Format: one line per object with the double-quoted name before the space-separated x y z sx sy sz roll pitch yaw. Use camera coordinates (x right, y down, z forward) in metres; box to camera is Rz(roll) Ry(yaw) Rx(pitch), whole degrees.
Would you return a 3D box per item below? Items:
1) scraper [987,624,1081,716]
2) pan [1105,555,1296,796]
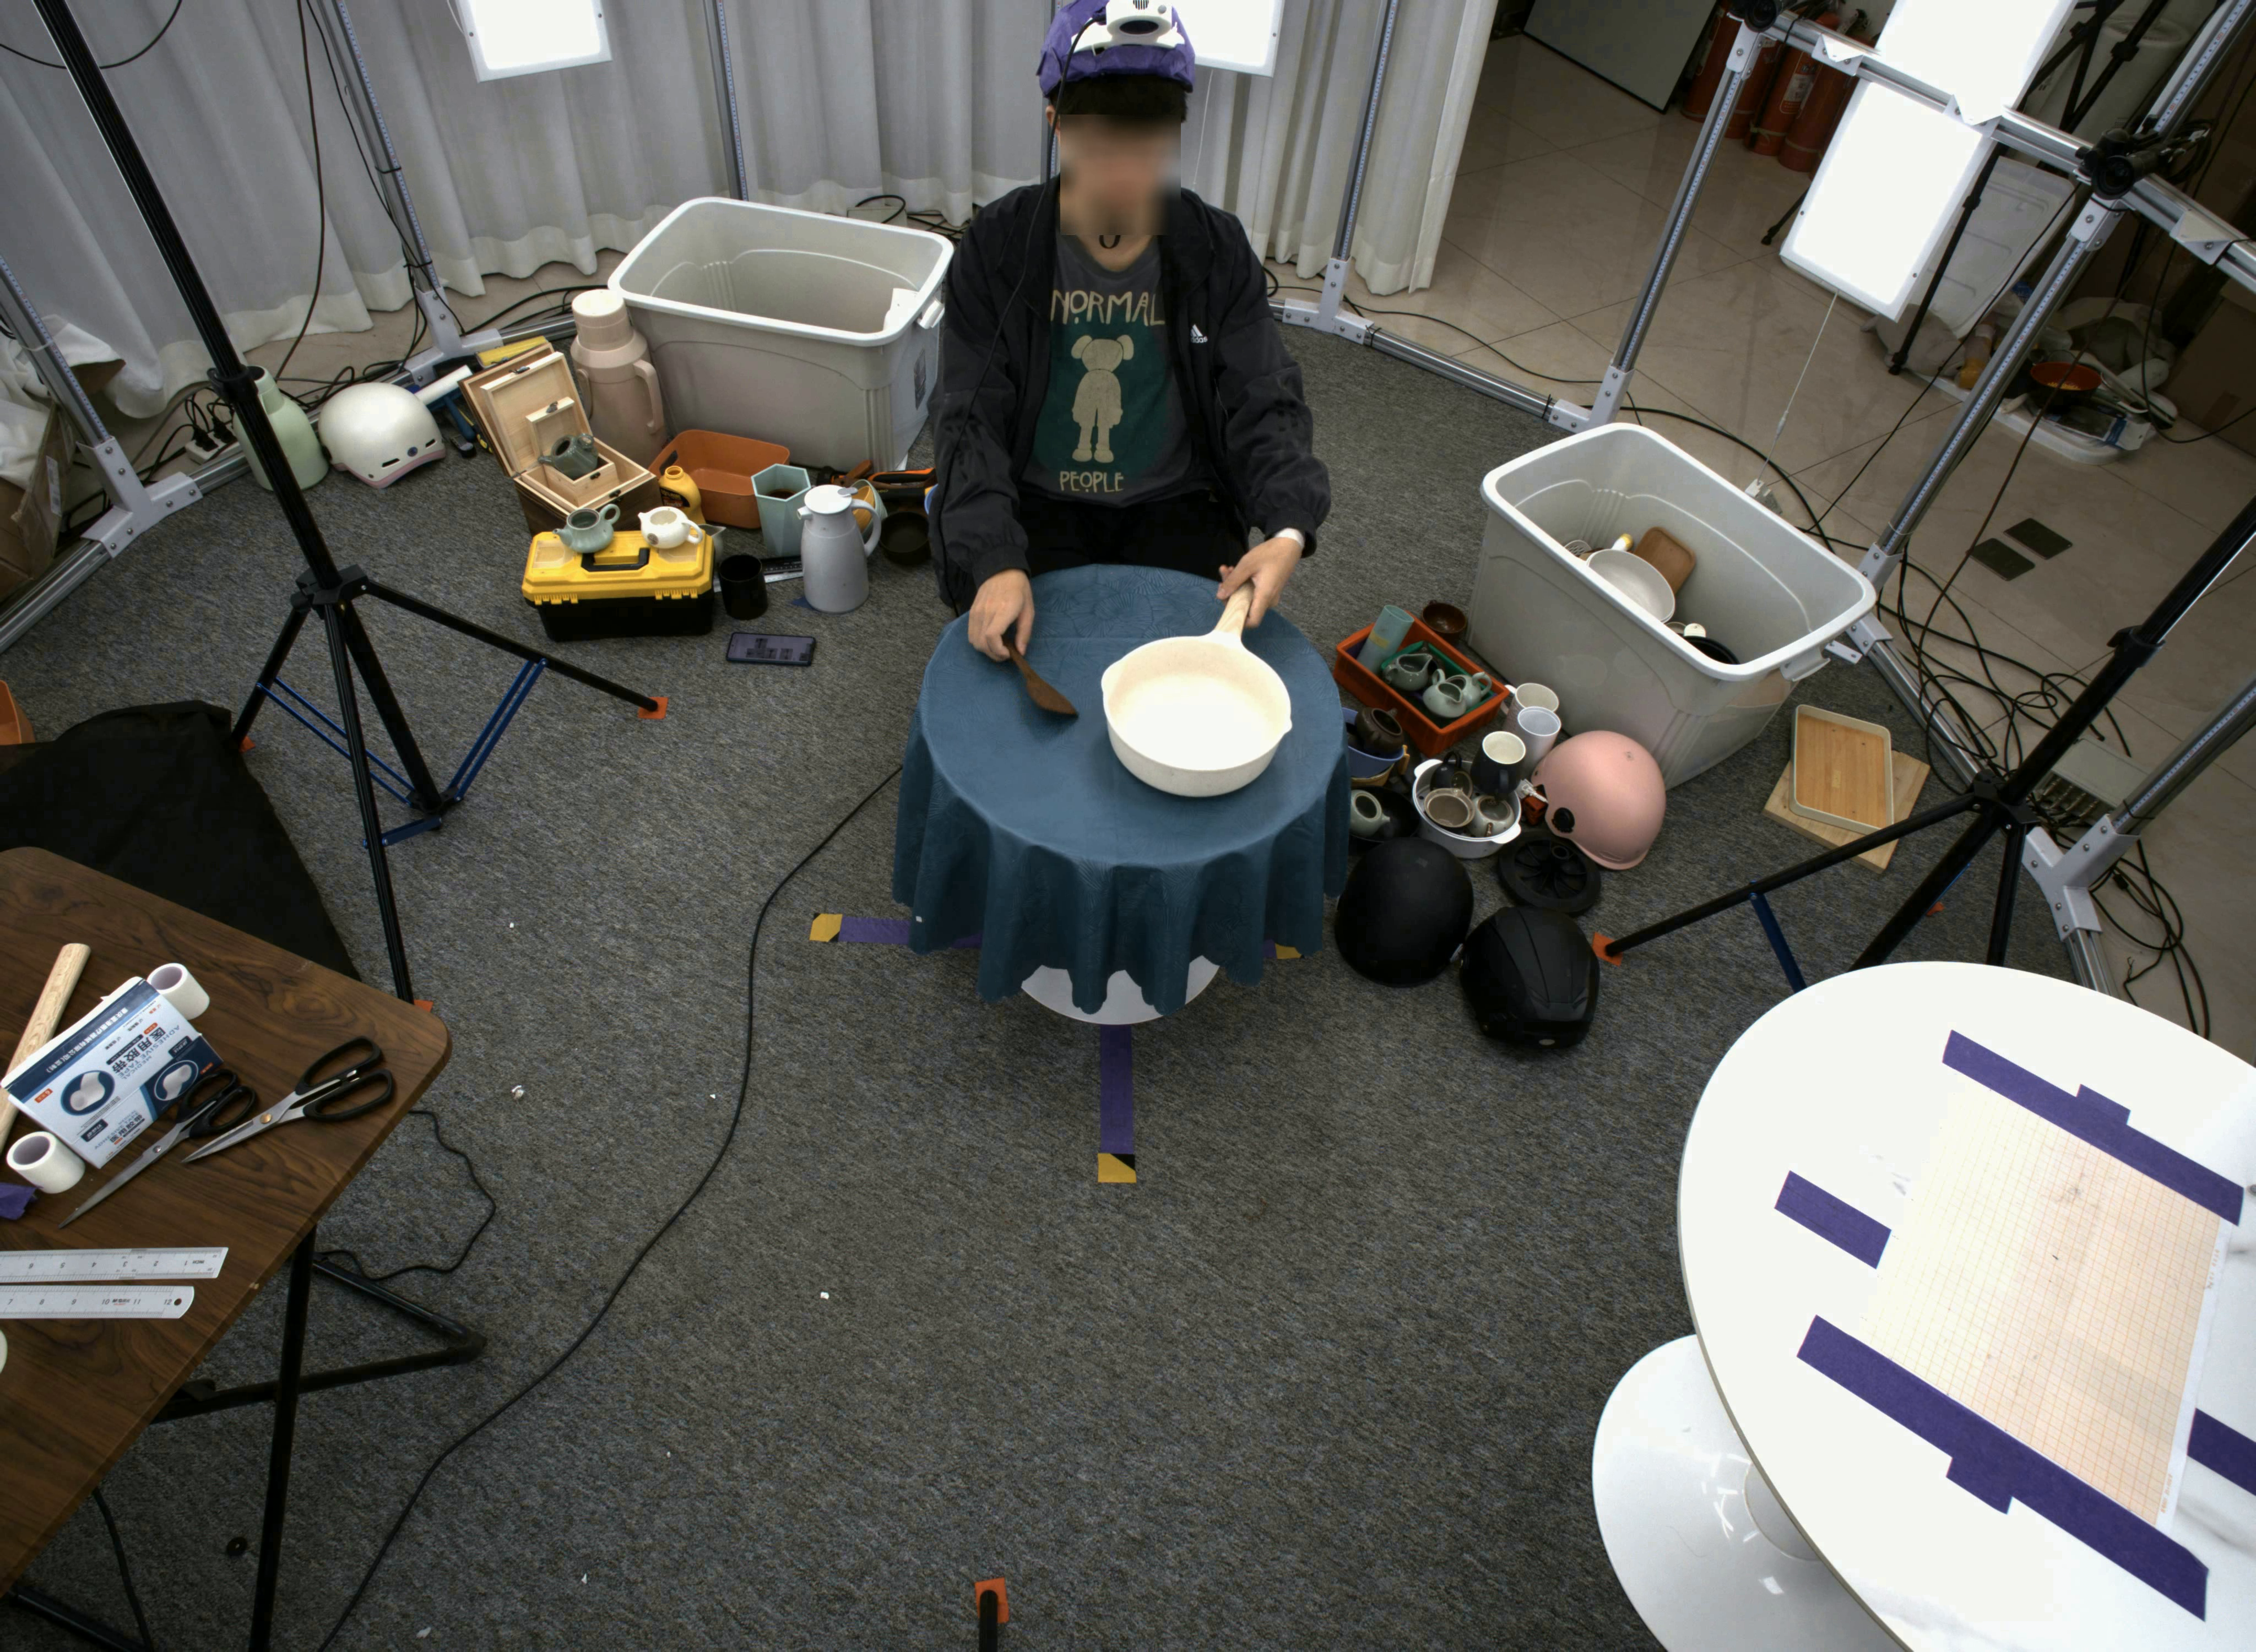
"scraper" -0.144 -0.222 1.824 0.075 0.010 0.215 0 42 -44
"pan" 0.126 -0.213 1.796 0.264 0.099 0.444 15 49 12
